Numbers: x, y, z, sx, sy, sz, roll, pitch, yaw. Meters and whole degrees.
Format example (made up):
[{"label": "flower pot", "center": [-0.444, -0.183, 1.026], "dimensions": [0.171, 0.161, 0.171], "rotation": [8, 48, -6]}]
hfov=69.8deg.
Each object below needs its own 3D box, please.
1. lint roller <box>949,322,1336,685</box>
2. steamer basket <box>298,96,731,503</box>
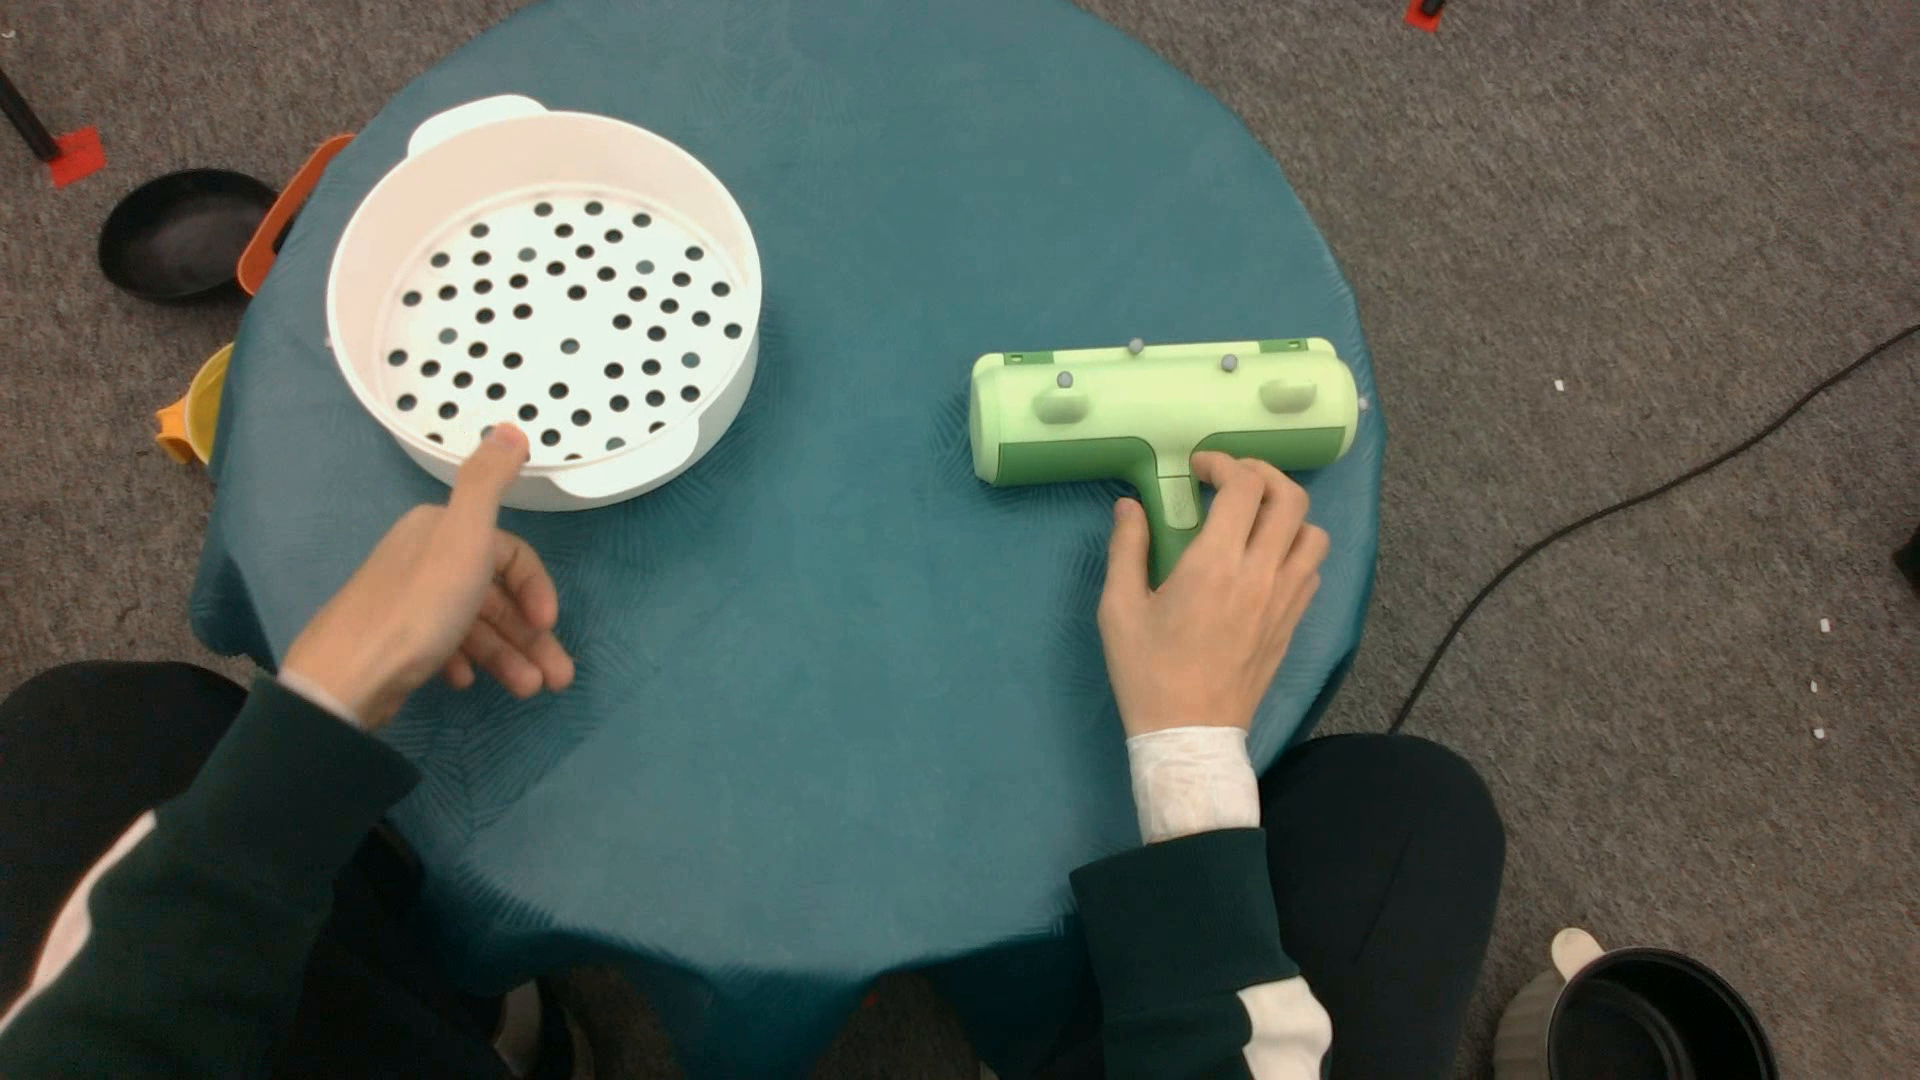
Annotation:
[{"label": "lint roller", "center": [0.102, -0.026, 0.682], "dimensions": [0.199, 0.082, 0.184], "rotation": [-5, 64, -8]}, {"label": "steamer basket", "center": [-0.215, -0.115, 0.688], "dimensions": [0.202, 0.069, 0.231], "rotation": [-26, 72, -16]}]
